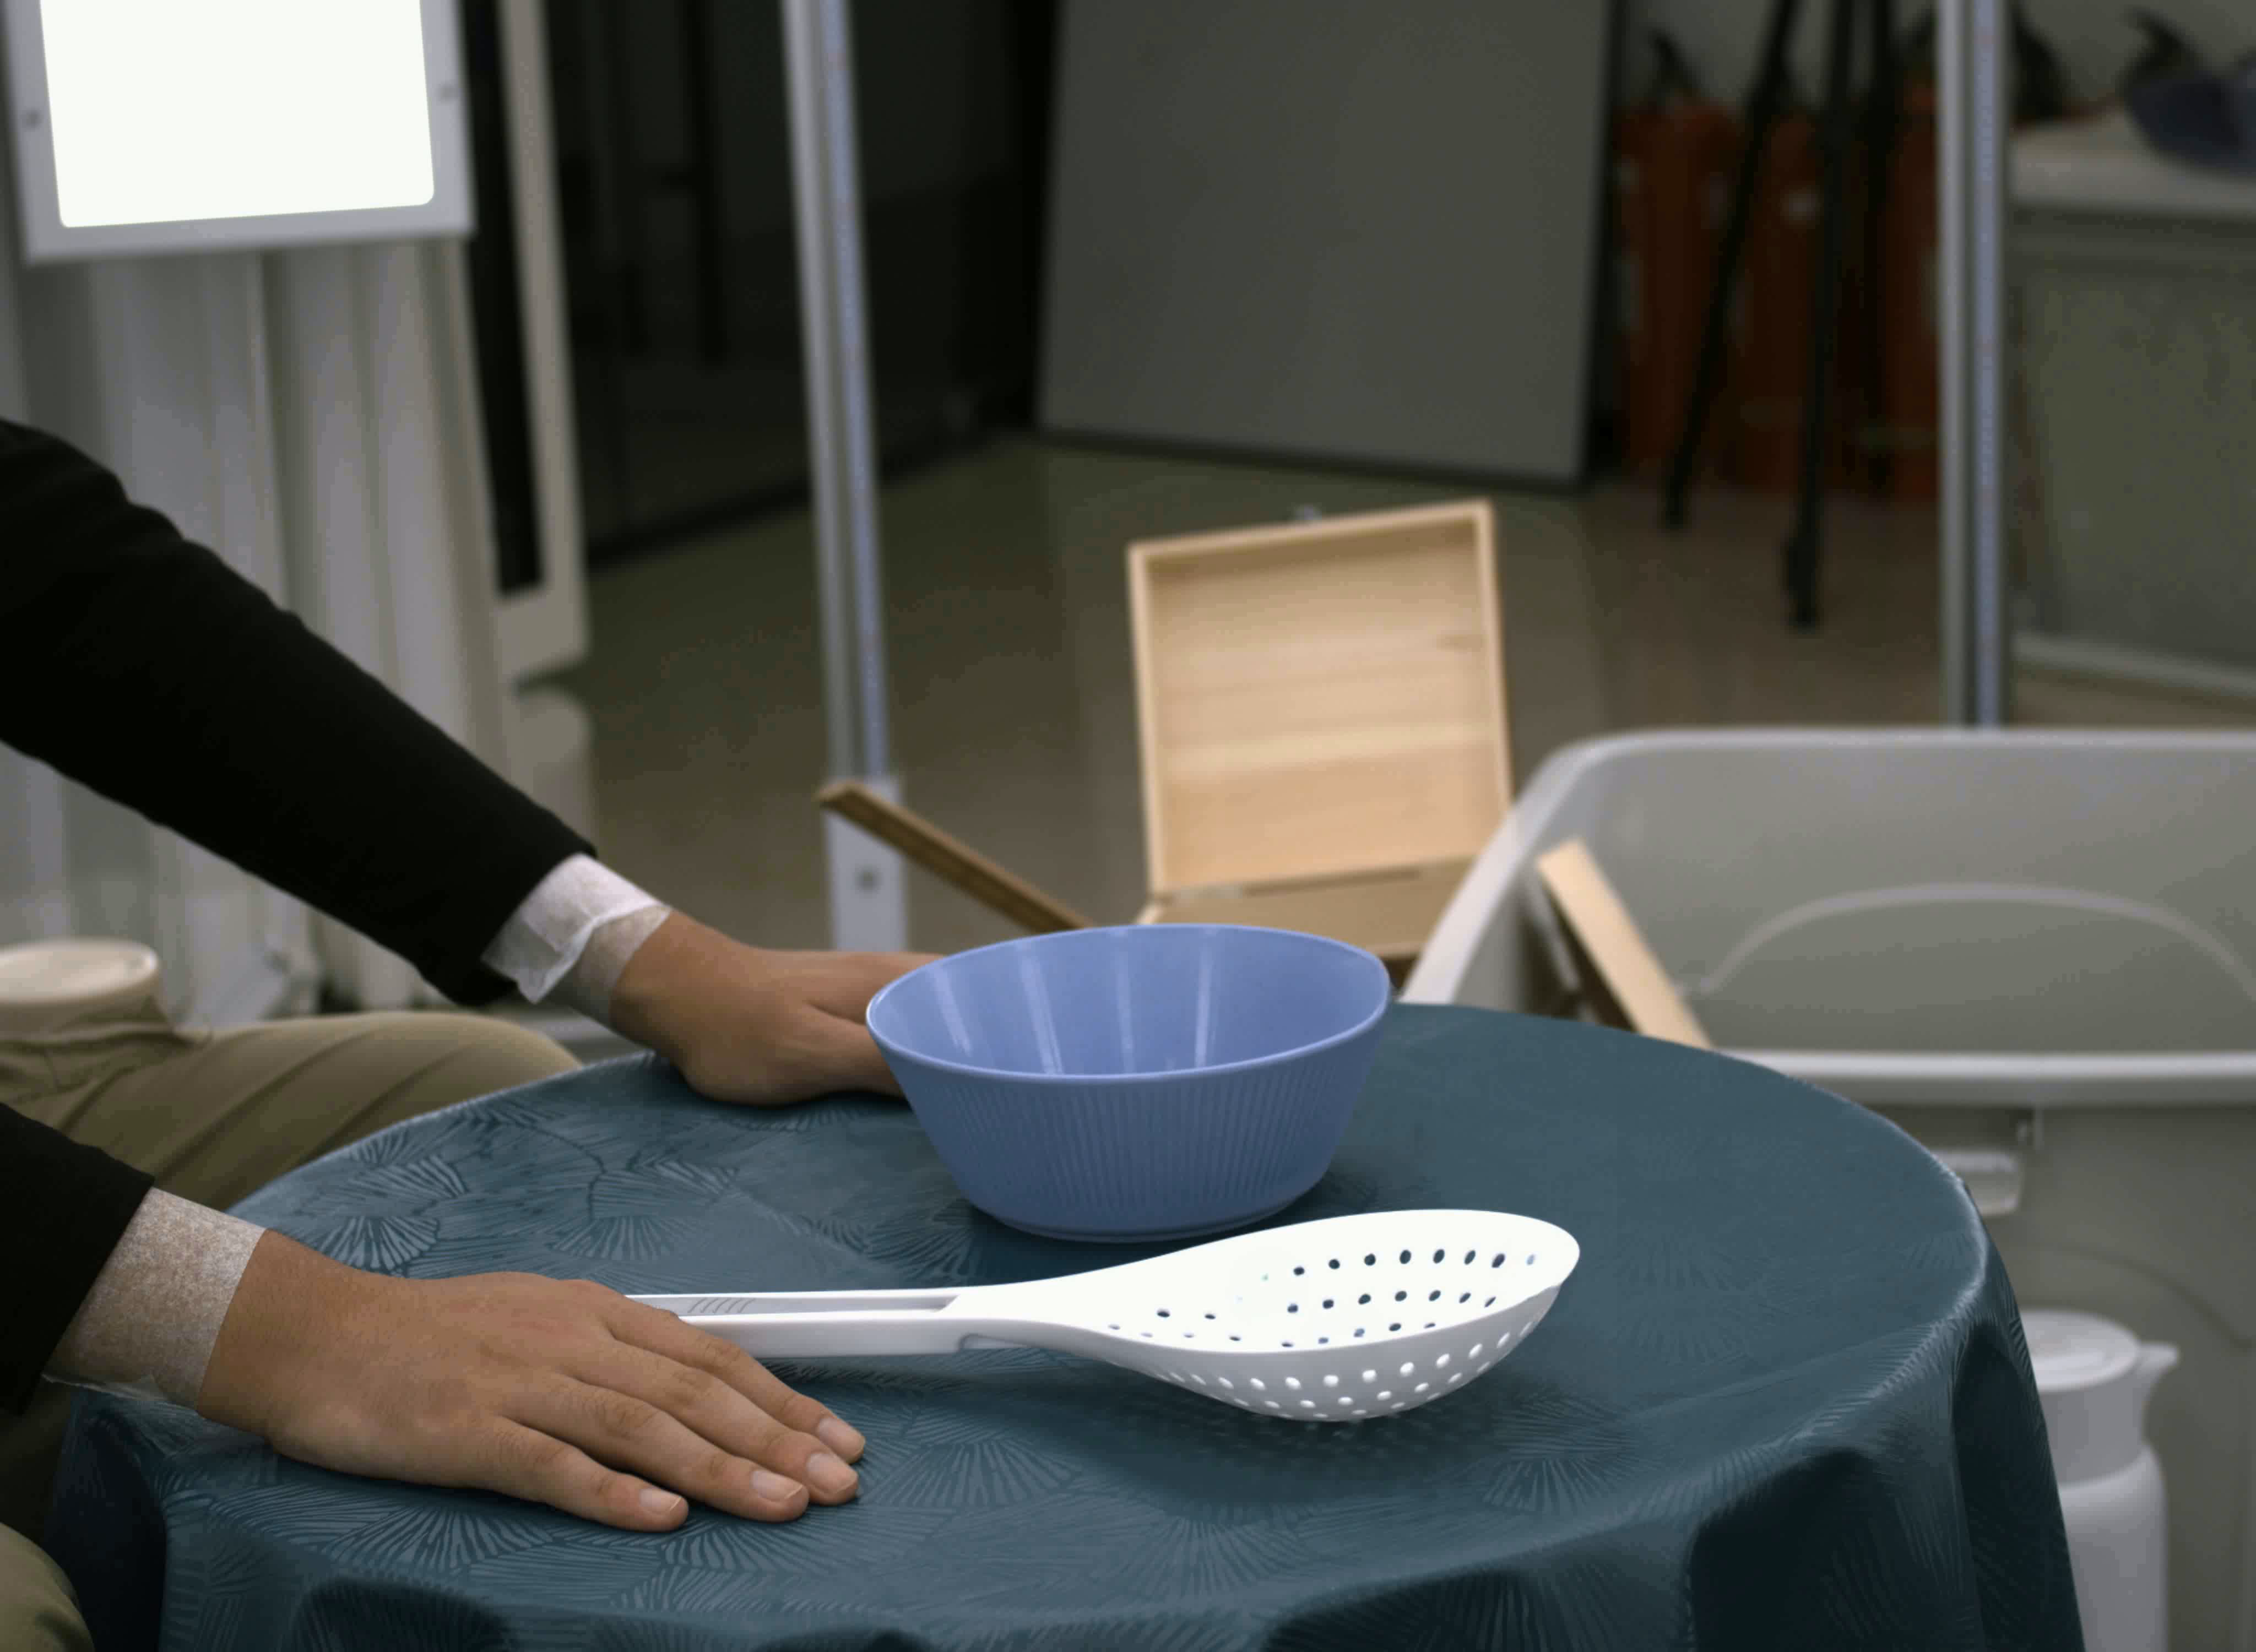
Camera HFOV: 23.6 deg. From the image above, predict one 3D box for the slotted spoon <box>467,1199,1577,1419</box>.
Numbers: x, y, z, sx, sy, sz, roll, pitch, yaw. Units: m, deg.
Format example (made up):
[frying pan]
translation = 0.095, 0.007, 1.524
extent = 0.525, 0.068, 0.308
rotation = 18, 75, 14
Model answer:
[slotted spoon]
translation = -0.036, 0.144, 1.590
extent = 0.349, 0.046, 0.135
rotation = 0, 13, 20

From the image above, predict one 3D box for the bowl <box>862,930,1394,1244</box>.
[bowl]
translation = 0.002, 0.087, 1.761
extent = 0.174, 0.071, 0.176
rotation = -5, 14, 0
